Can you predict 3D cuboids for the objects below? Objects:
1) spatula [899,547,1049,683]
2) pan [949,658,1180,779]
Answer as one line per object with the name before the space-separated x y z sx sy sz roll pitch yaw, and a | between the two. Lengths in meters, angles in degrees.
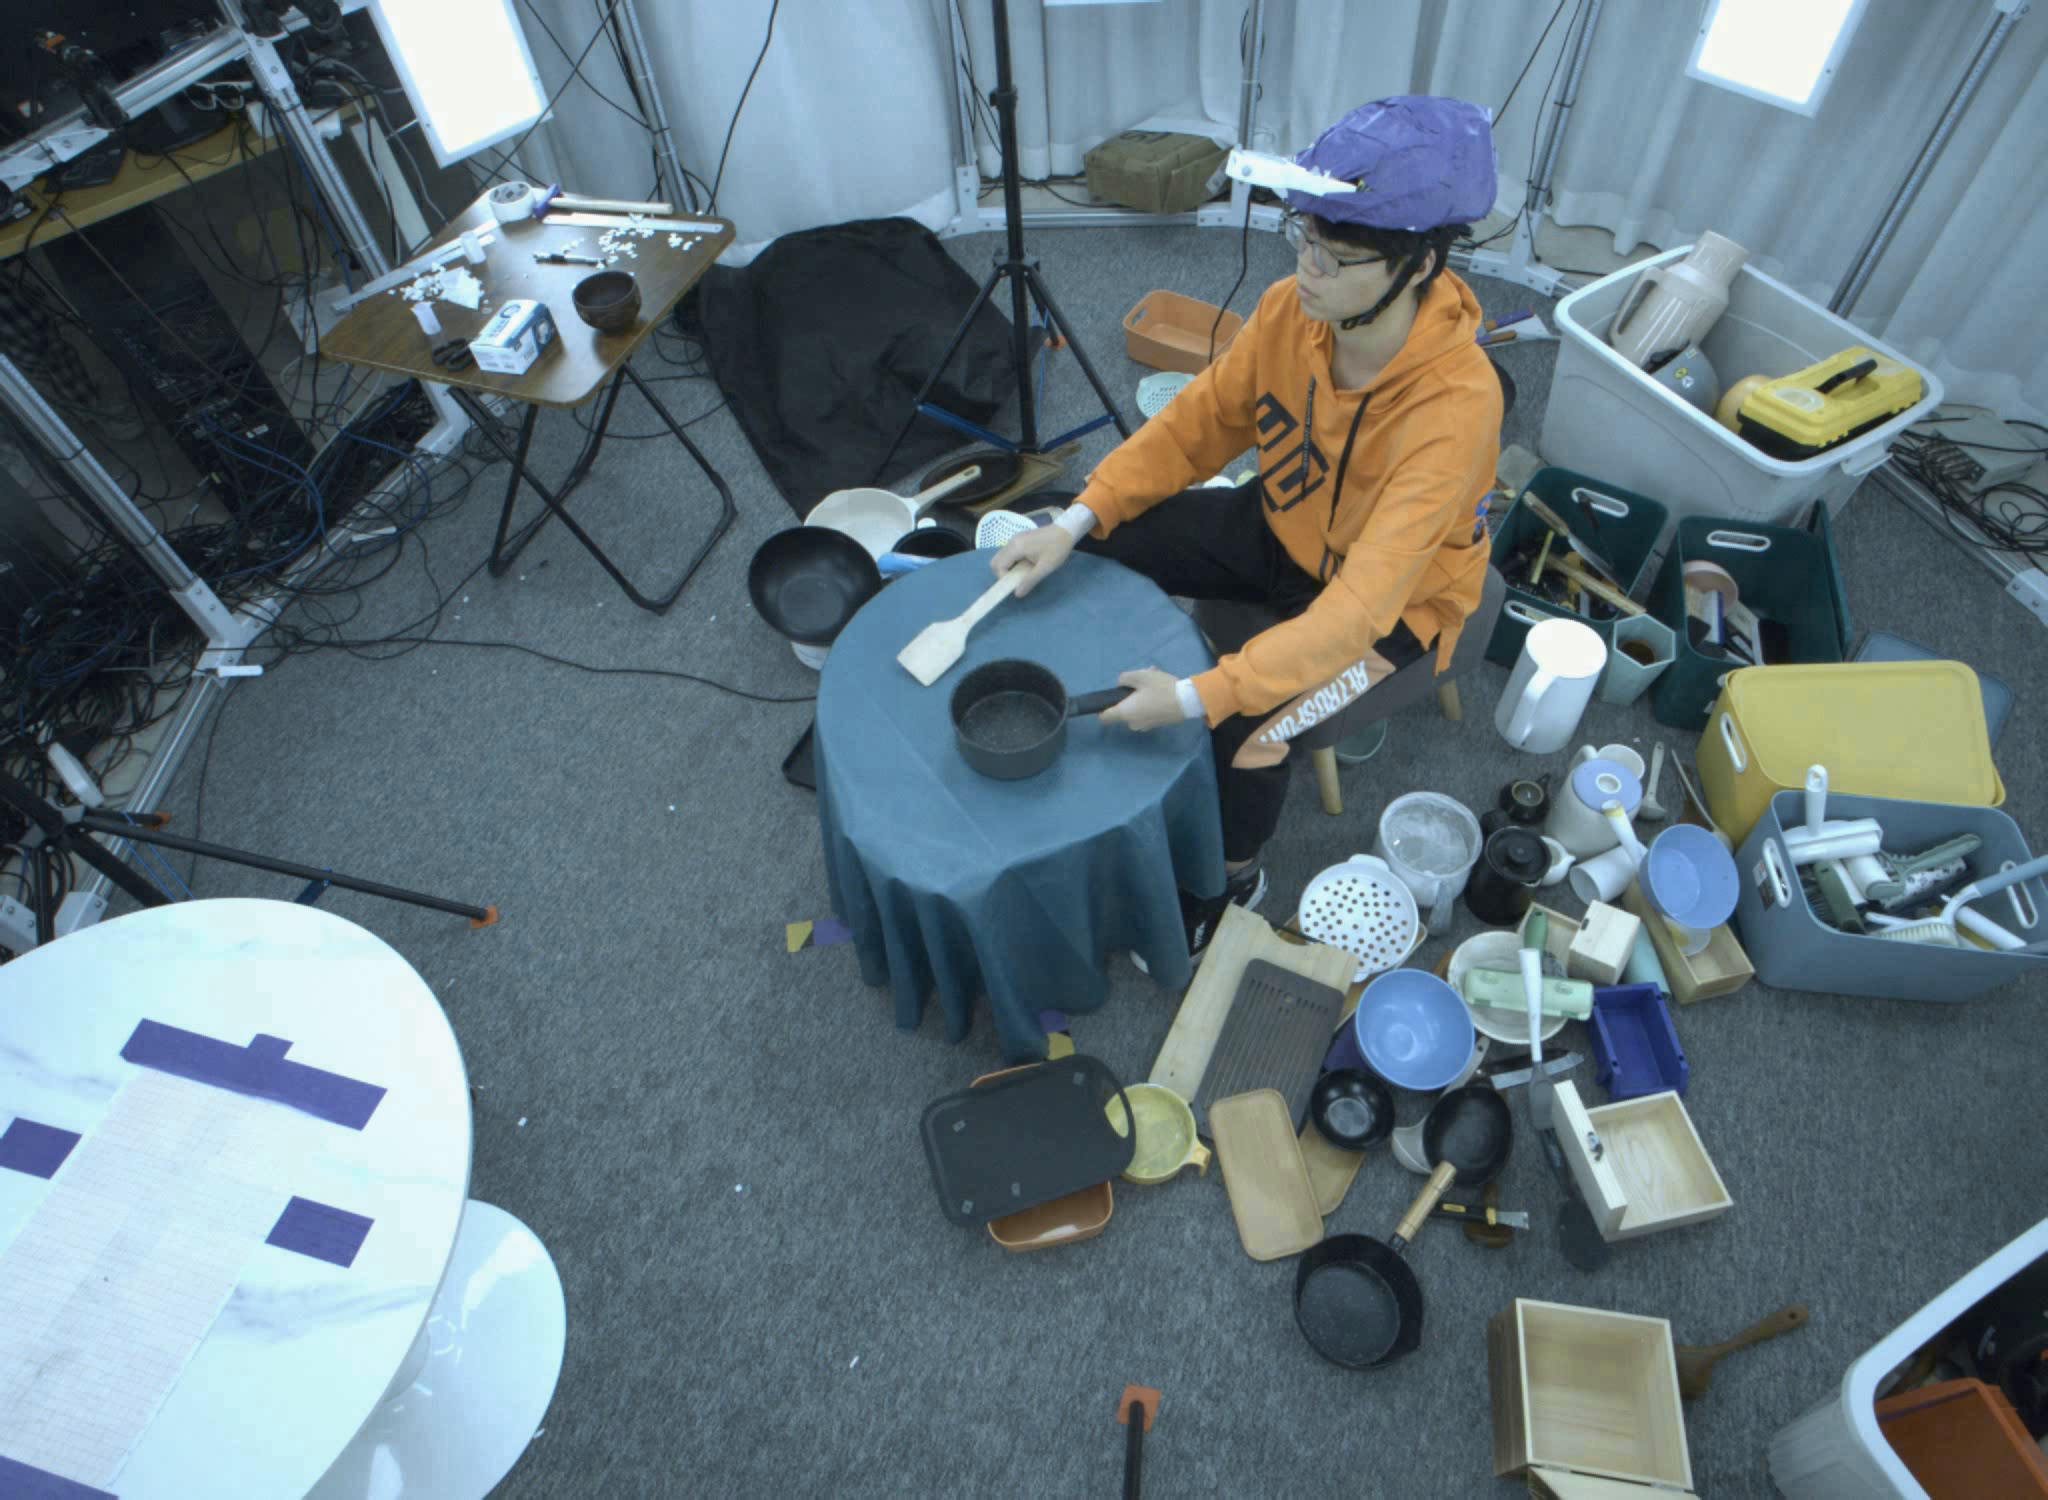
spatula | -0.069 -0.219 1.905 0.072 0.011 0.294 43 74 9
pan | 0.059 -0.052 1.770 0.329 0.087 0.170 -5 56 0
